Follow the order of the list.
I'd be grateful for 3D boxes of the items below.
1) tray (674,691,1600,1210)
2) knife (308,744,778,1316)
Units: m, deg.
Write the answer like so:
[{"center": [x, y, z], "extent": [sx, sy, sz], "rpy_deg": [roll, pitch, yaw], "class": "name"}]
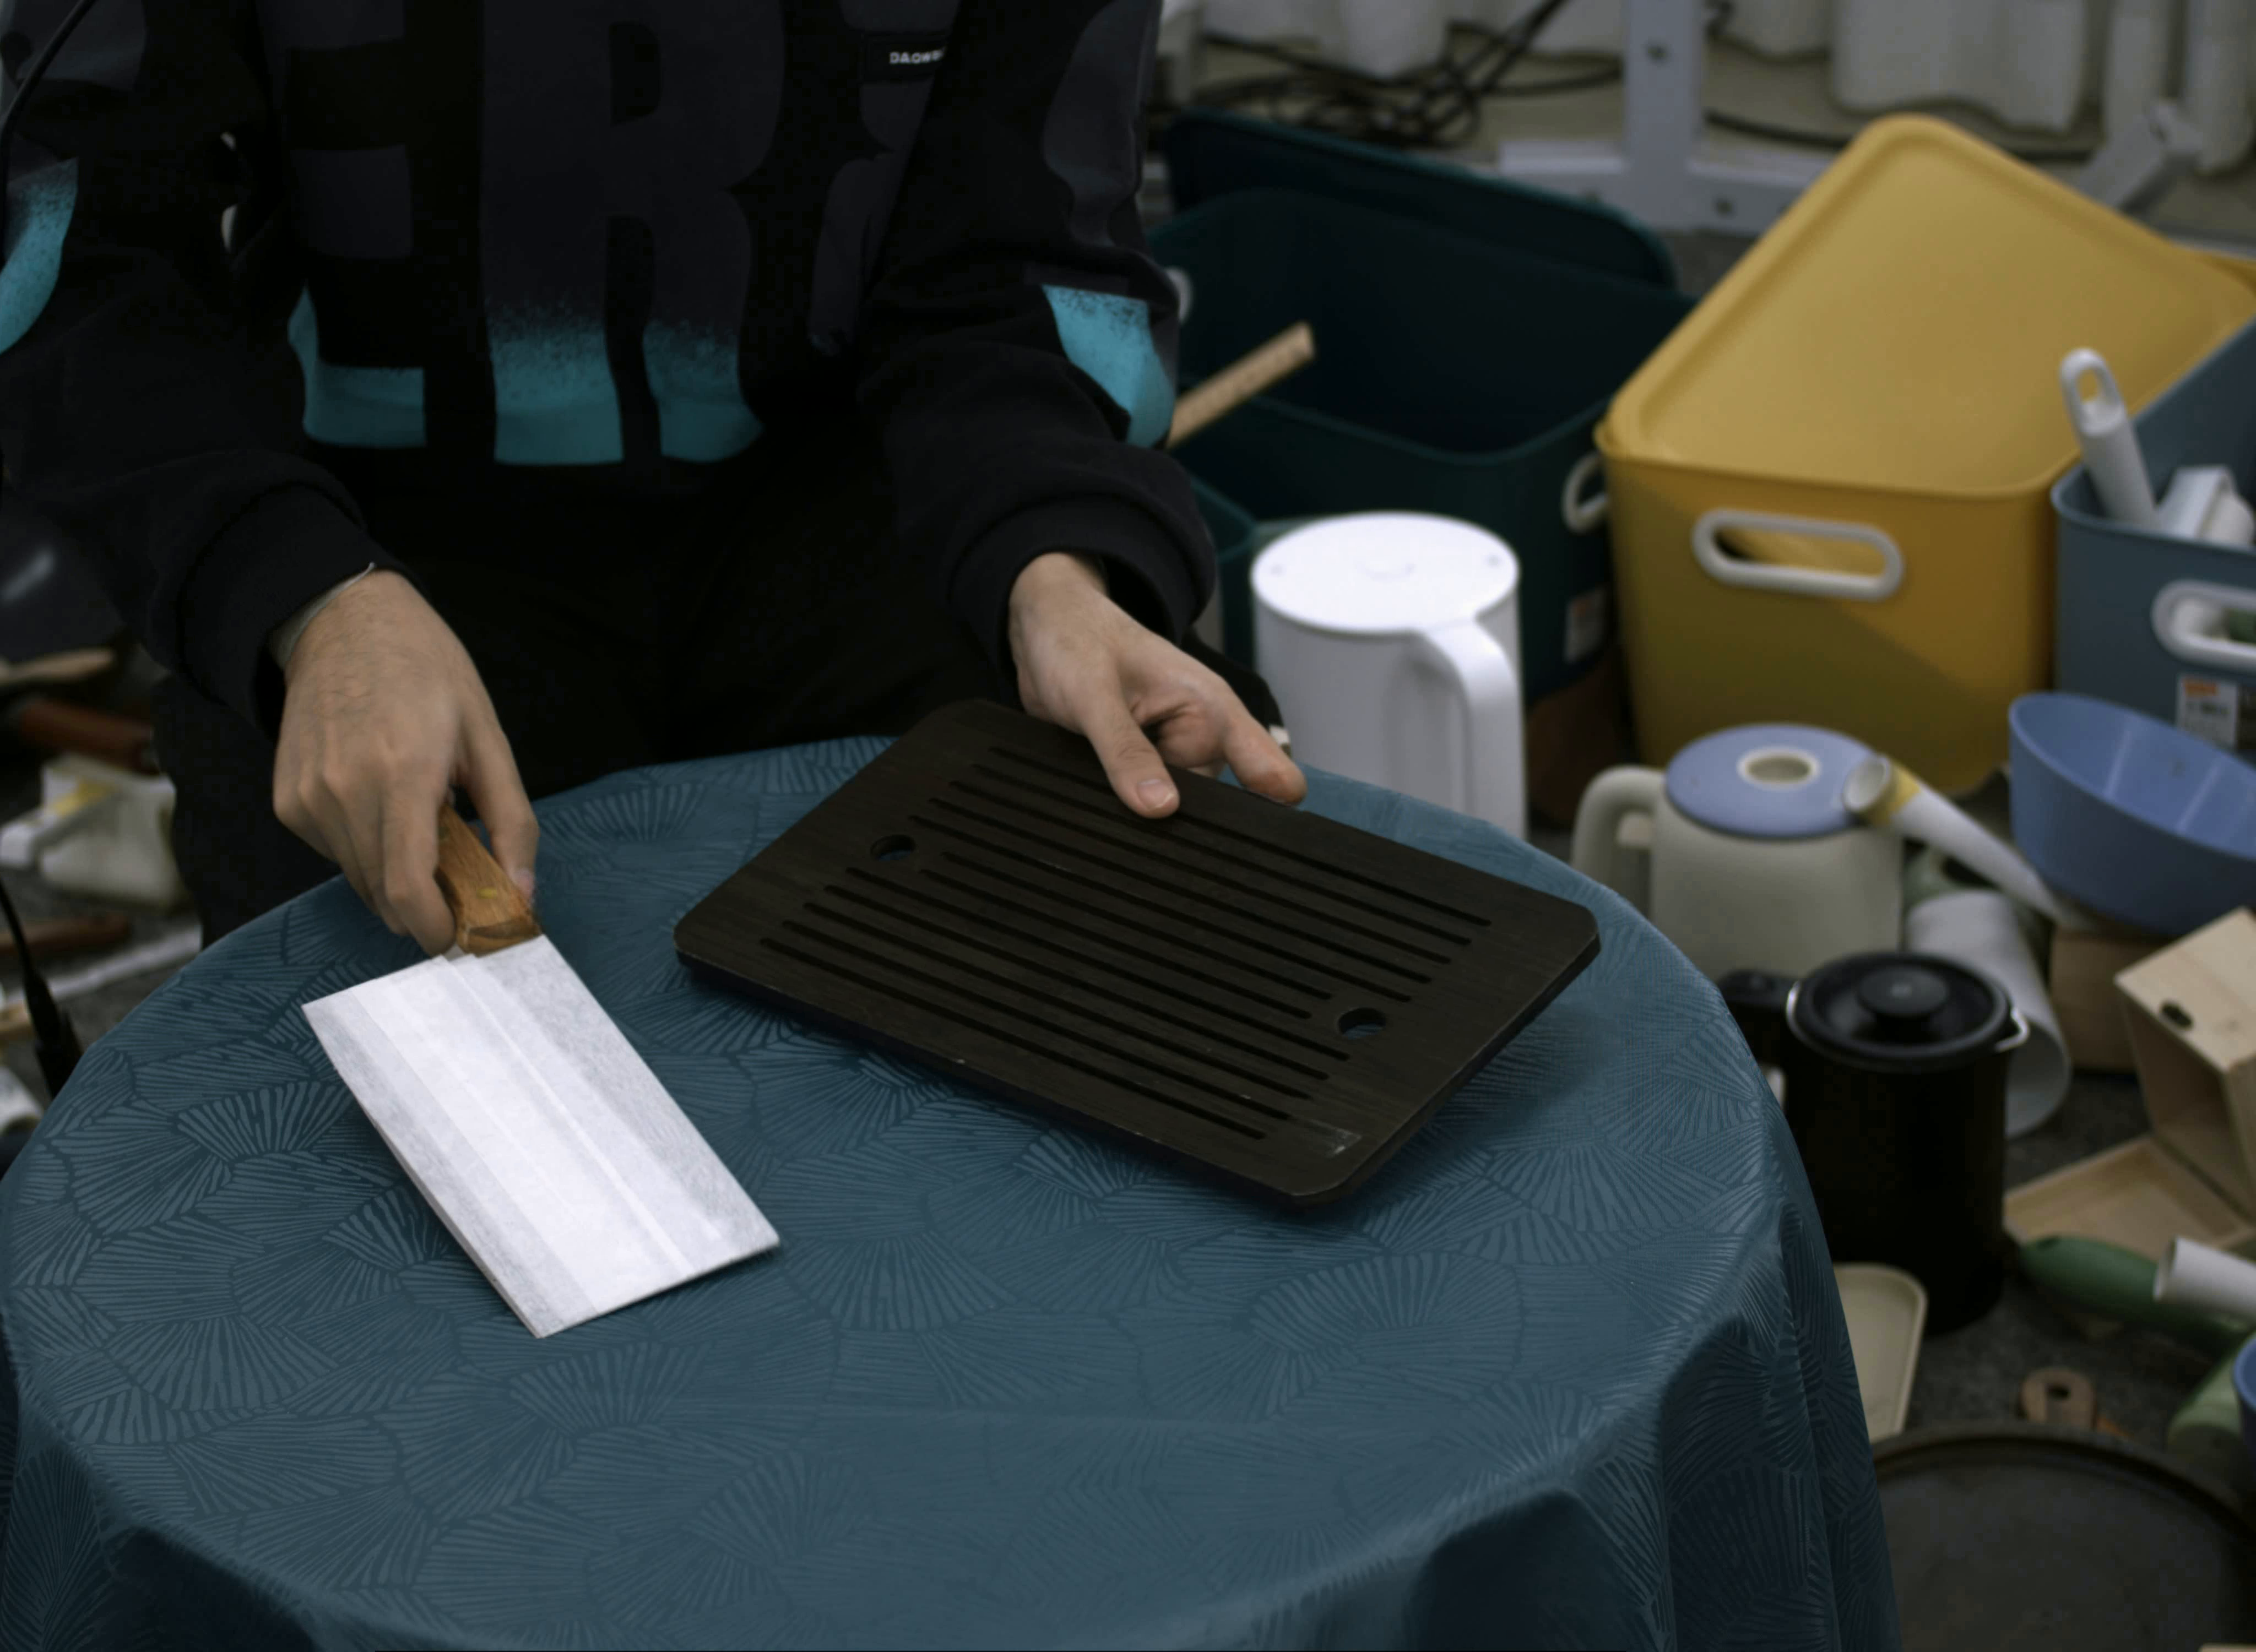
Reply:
[{"center": [0.000, 0.040, 1.967], "extent": [0.305, 0.018, 0.173], "rpy_deg": [20, 46, 37], "class": "tray"}, {"center": [-0.225, 0.069, 1.920], "extent": [0.093, 0.020, 0.308], "rpy_deg": [-19, 42, -23], "class": "knife"}]
